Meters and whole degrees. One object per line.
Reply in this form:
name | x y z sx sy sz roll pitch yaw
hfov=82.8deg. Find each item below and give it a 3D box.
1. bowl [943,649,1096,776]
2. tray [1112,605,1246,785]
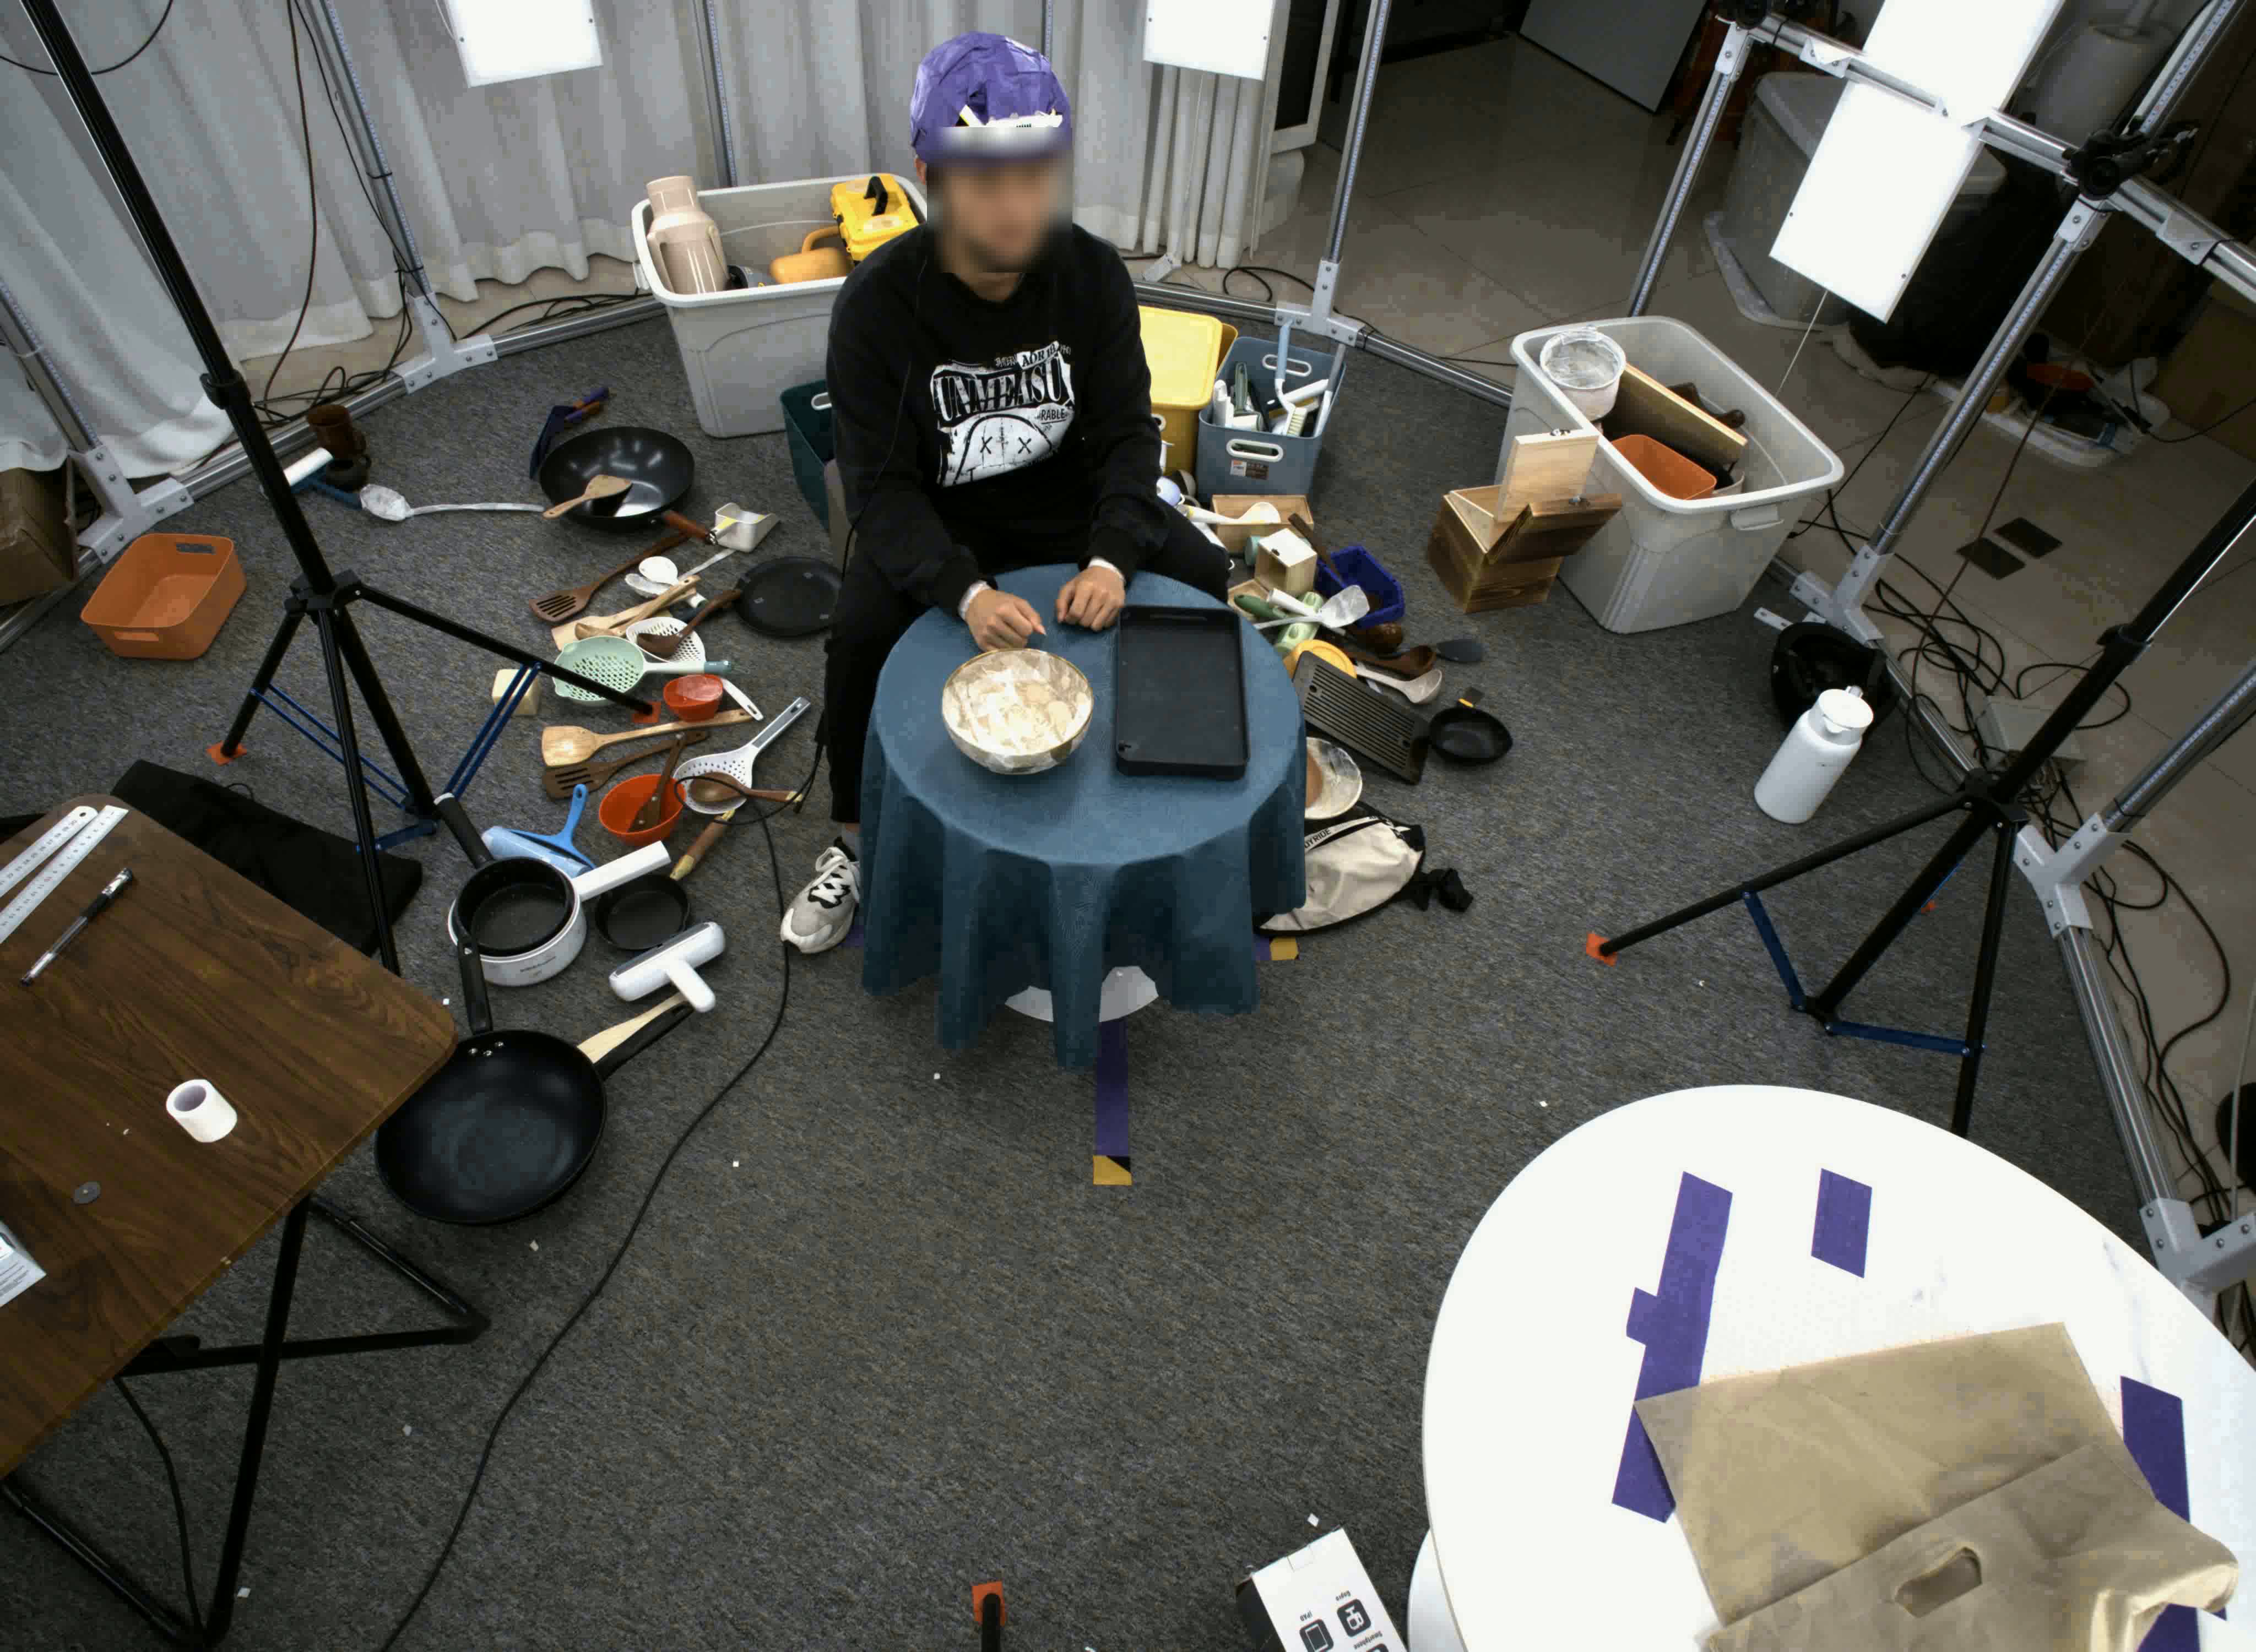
bowl | -0.143 -0.140 1.736 0.214 0.092 0.220 1 49 -1
tray | 0.074 -0.193 1.837 0.184 0.036 0.326 4 50 -1
